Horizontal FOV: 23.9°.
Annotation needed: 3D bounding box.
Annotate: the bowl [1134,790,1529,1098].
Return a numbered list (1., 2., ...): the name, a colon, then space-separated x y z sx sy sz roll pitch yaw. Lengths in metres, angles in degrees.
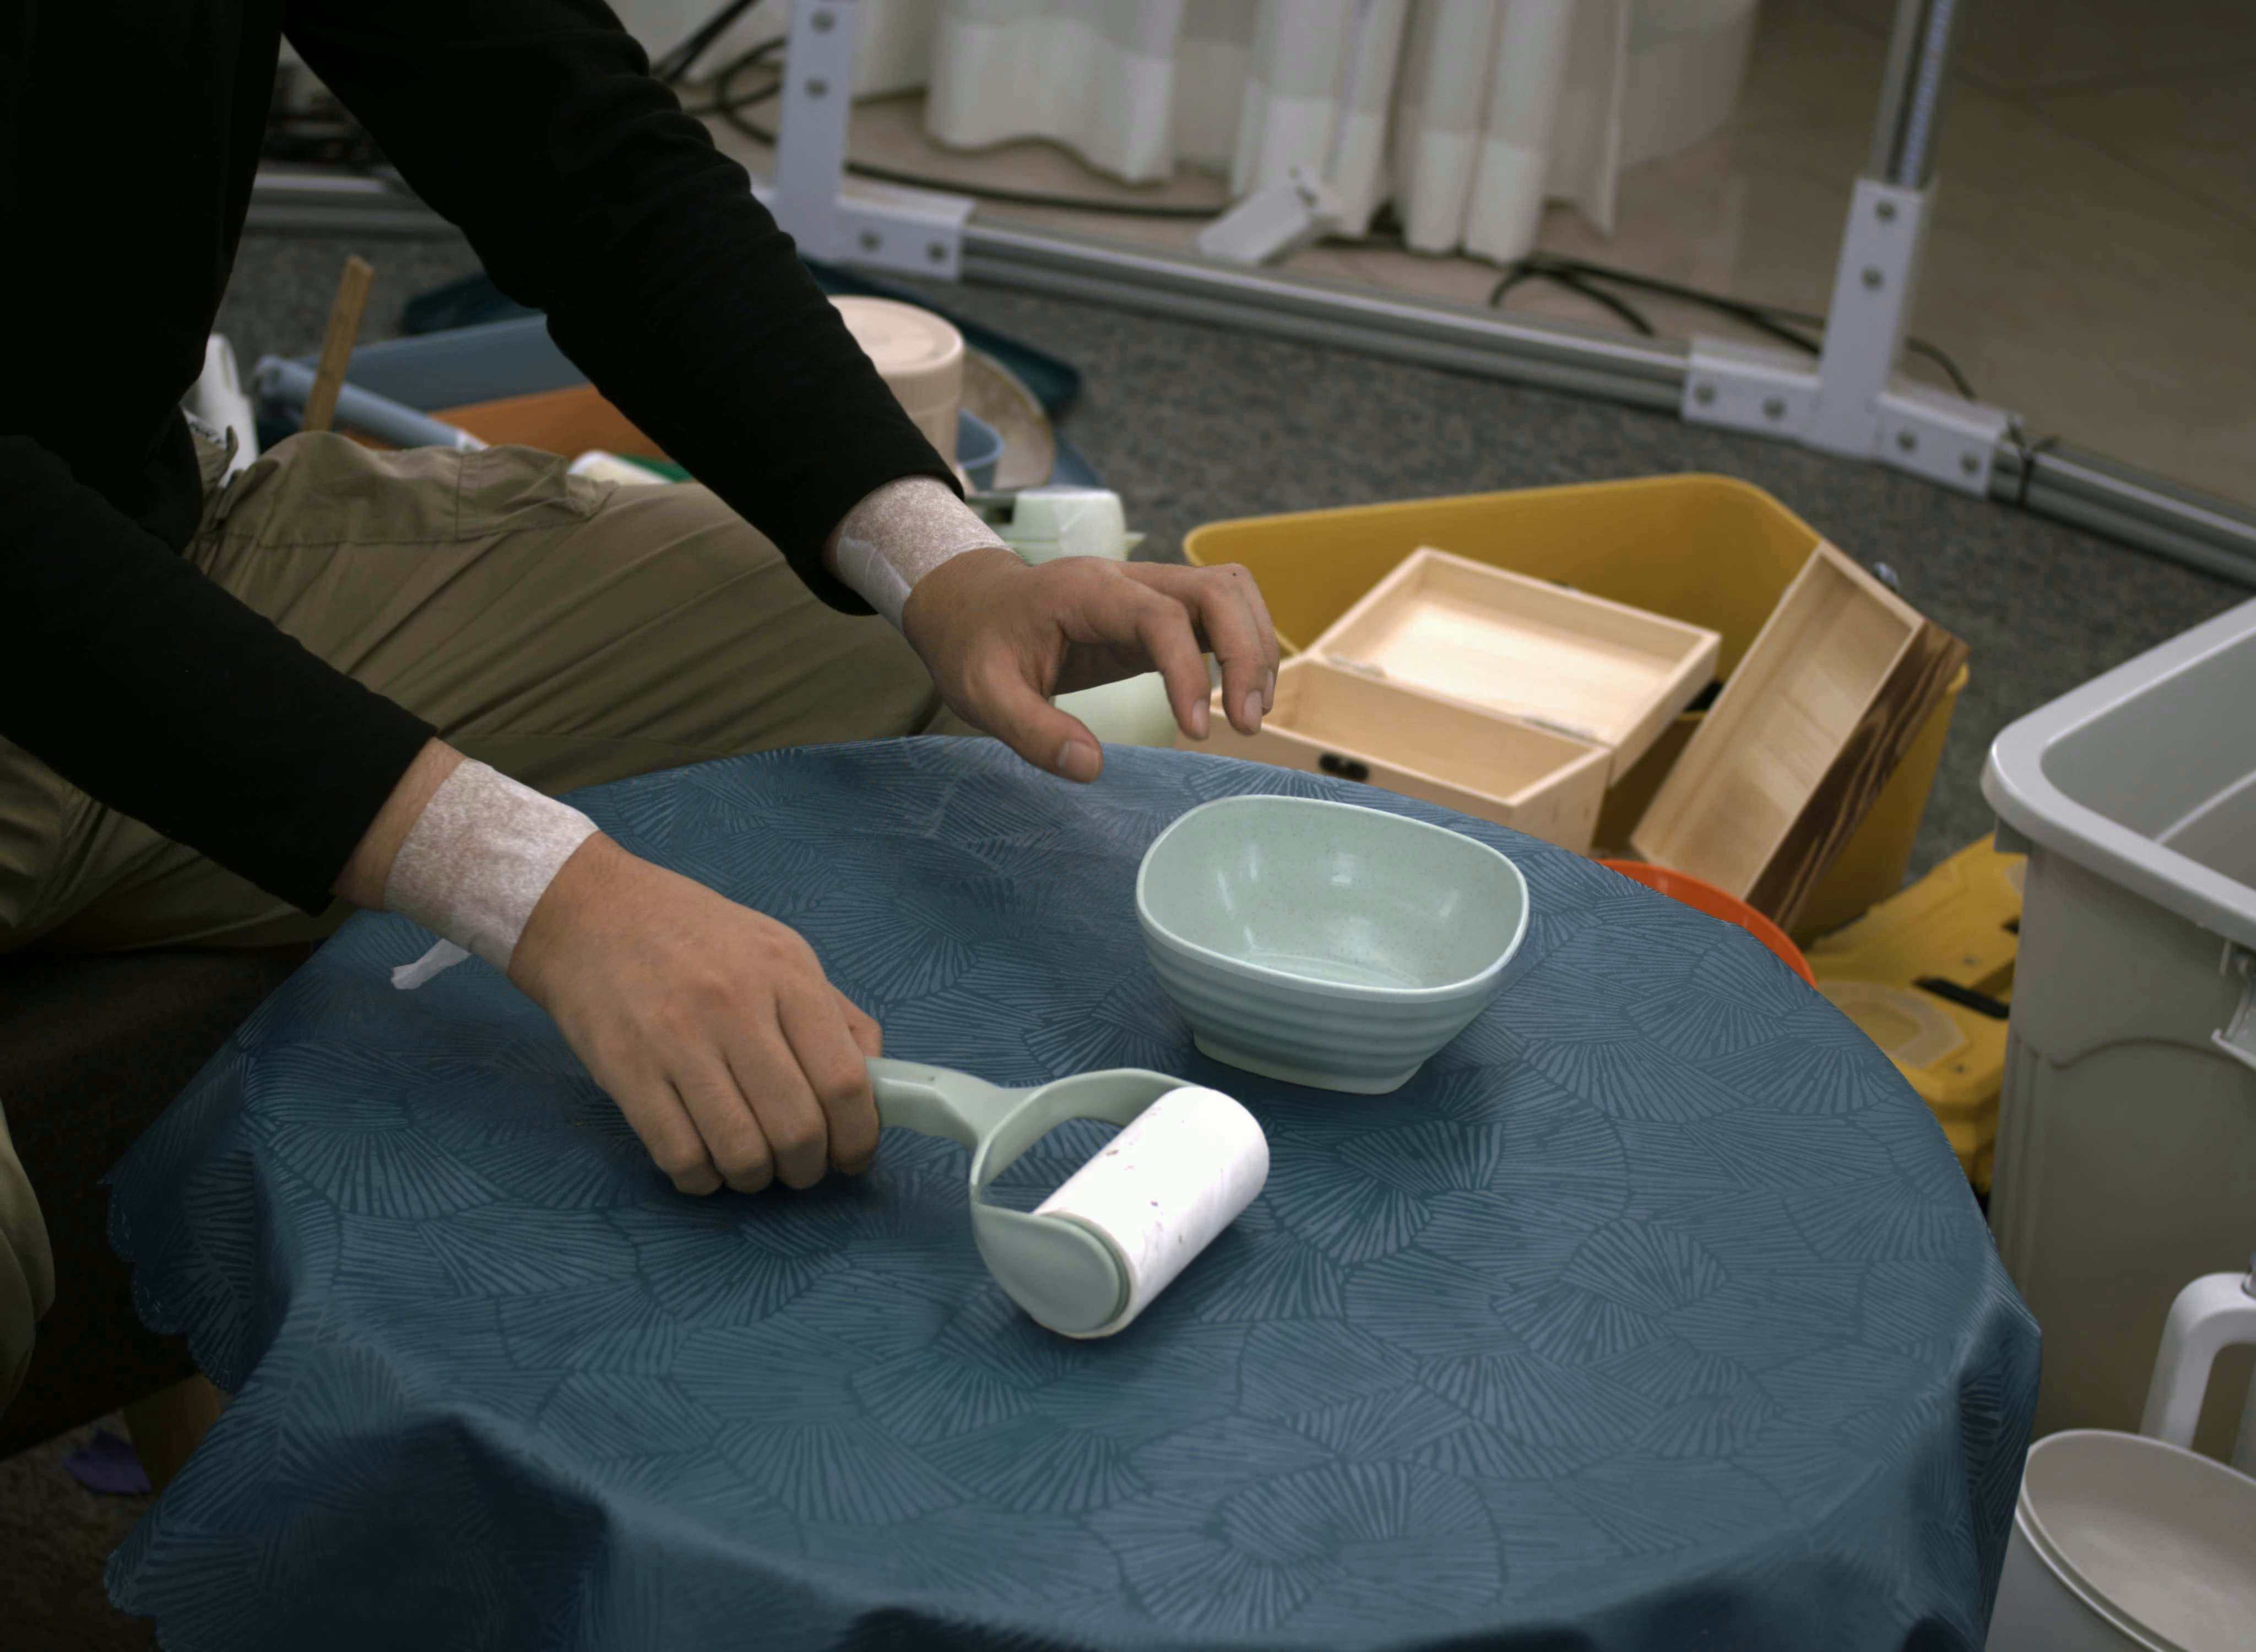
1. bowl: 0.070 0.048 1.904 0.151 0.058 0.152 6 28 -4

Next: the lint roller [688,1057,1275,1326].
1. lint roller: -0.058 0.103 1.780 0.198 0.048 0.116 17 29 22
